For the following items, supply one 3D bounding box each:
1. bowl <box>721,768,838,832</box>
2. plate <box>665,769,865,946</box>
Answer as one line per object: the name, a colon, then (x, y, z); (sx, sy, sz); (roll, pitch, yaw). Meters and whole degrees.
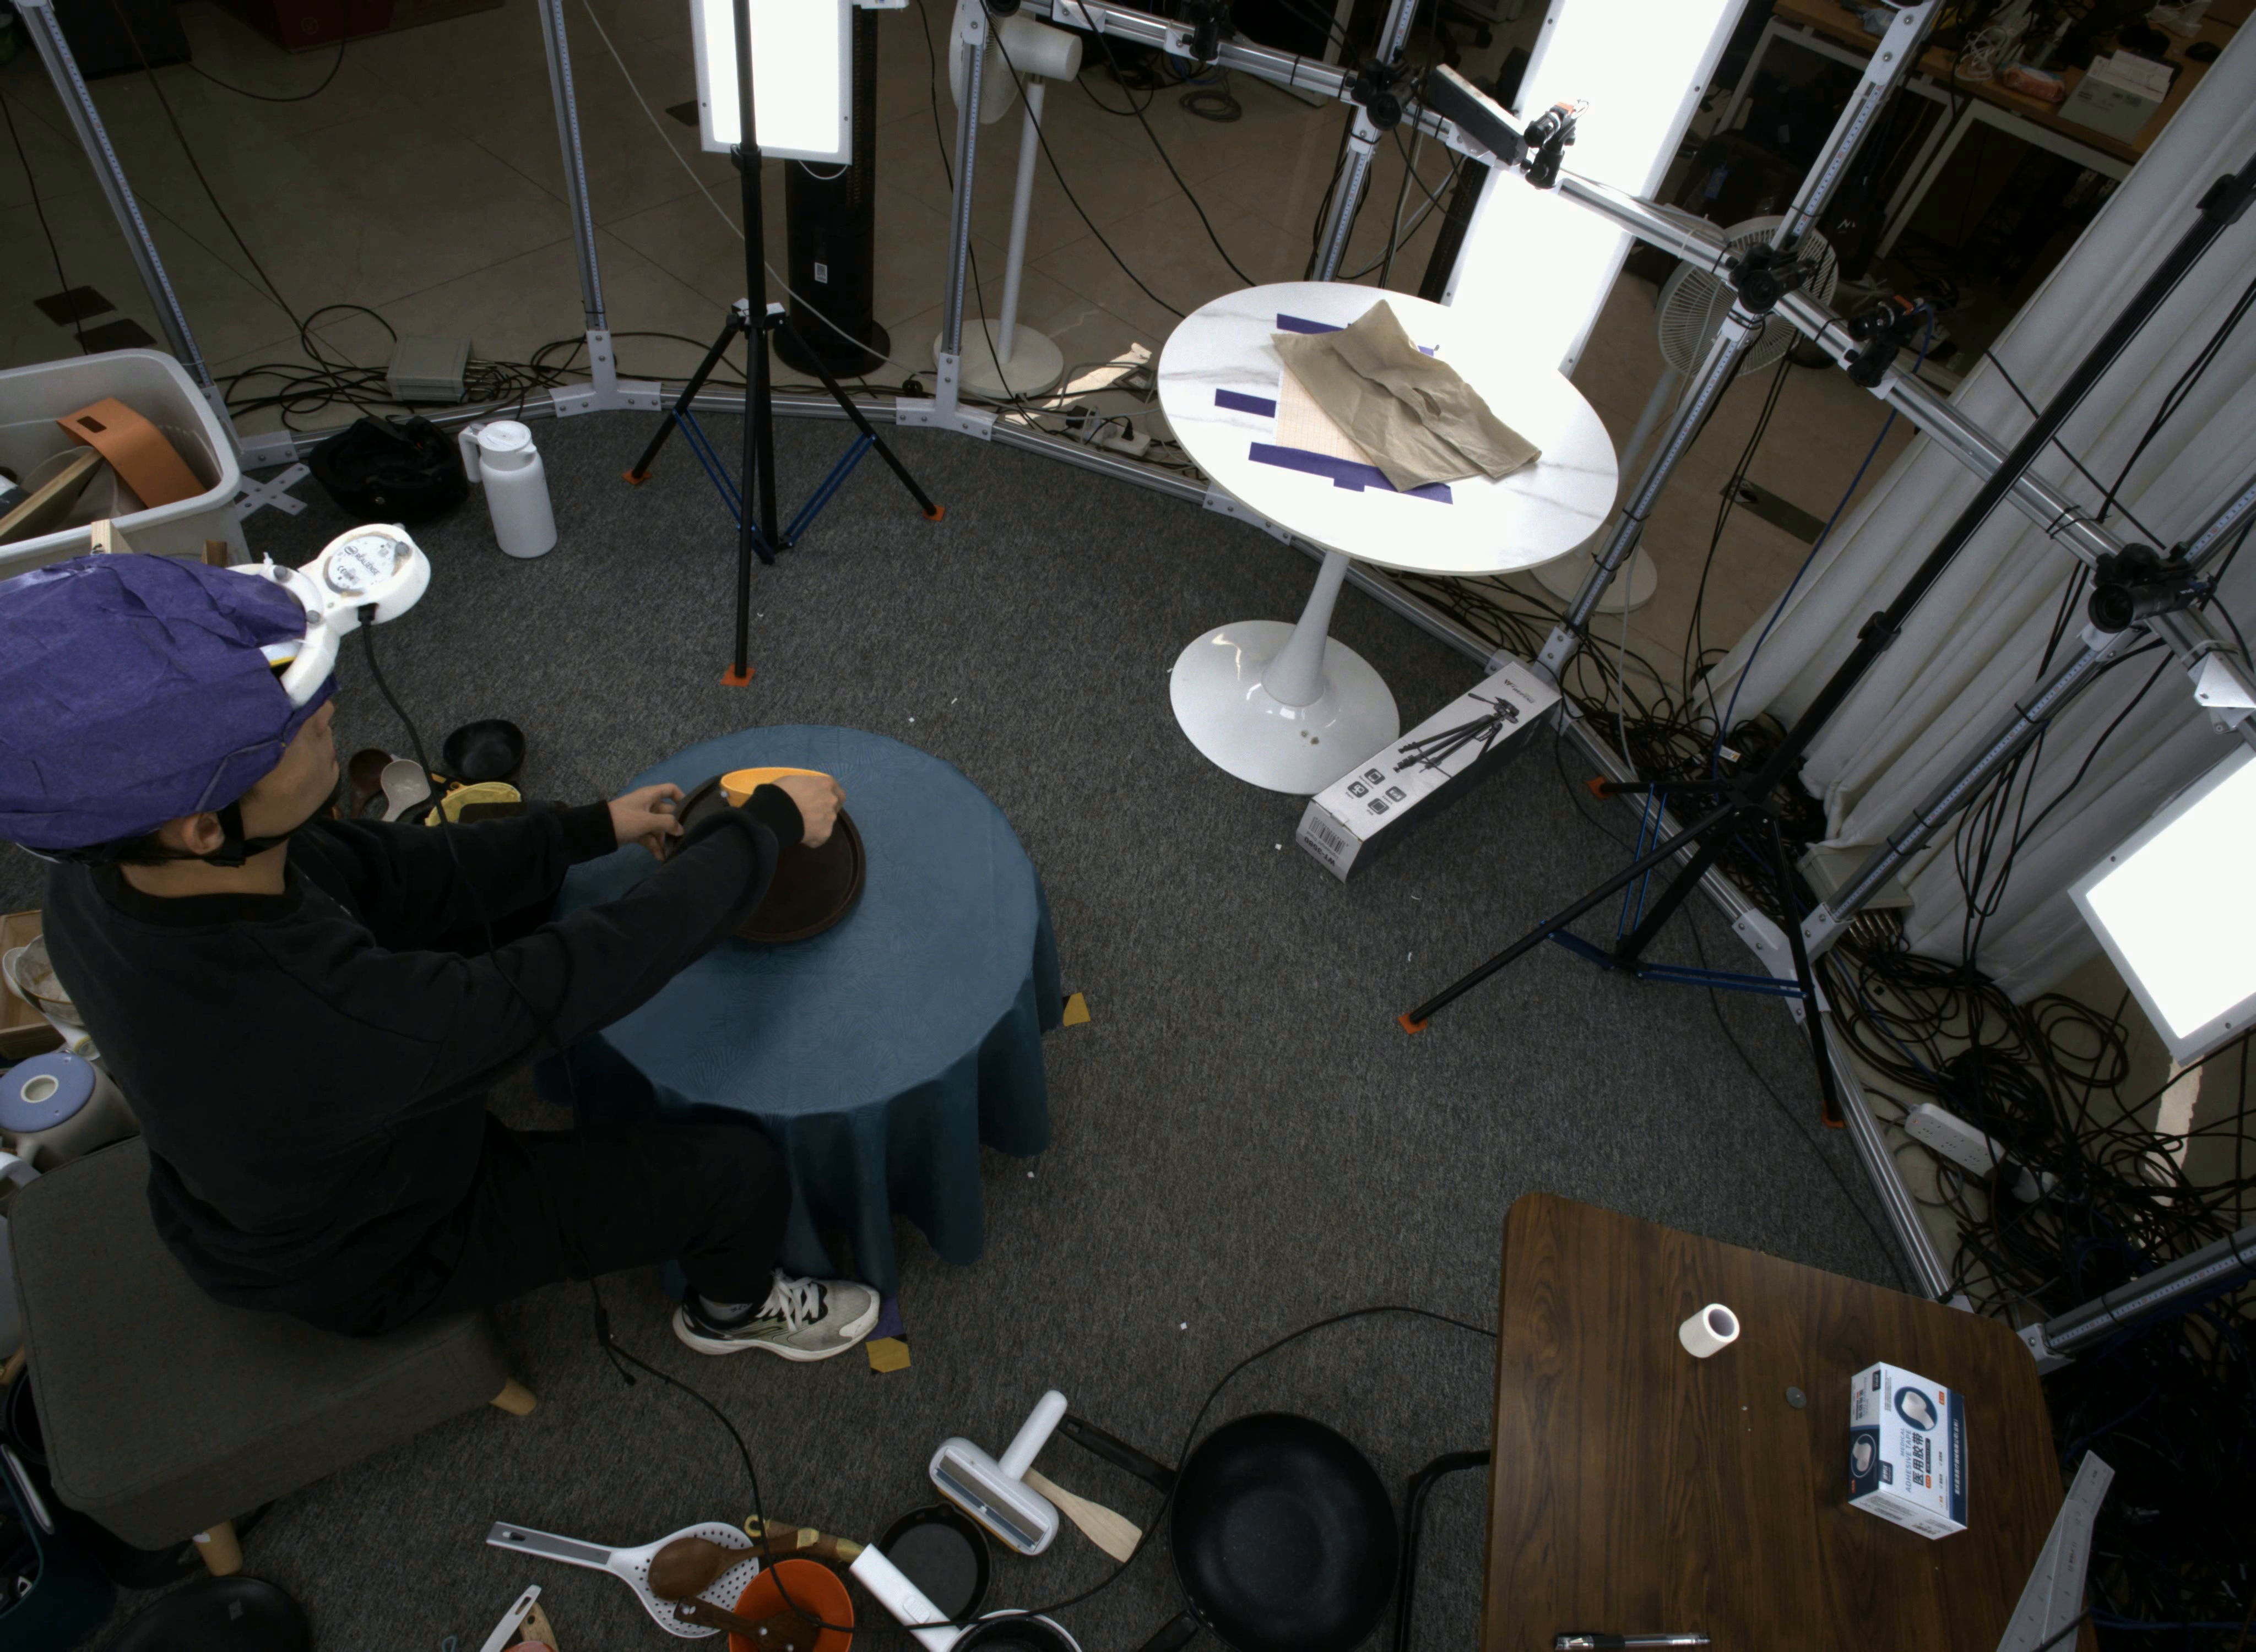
bowl: (-0.437, -0.030, 1.634); (0.143, 0.061, 0.143); (2, 15, 1)
plate: (-0.459, 0.037, 1.643); (0.258, 0.029, 0.251); (16, 55, -22)
